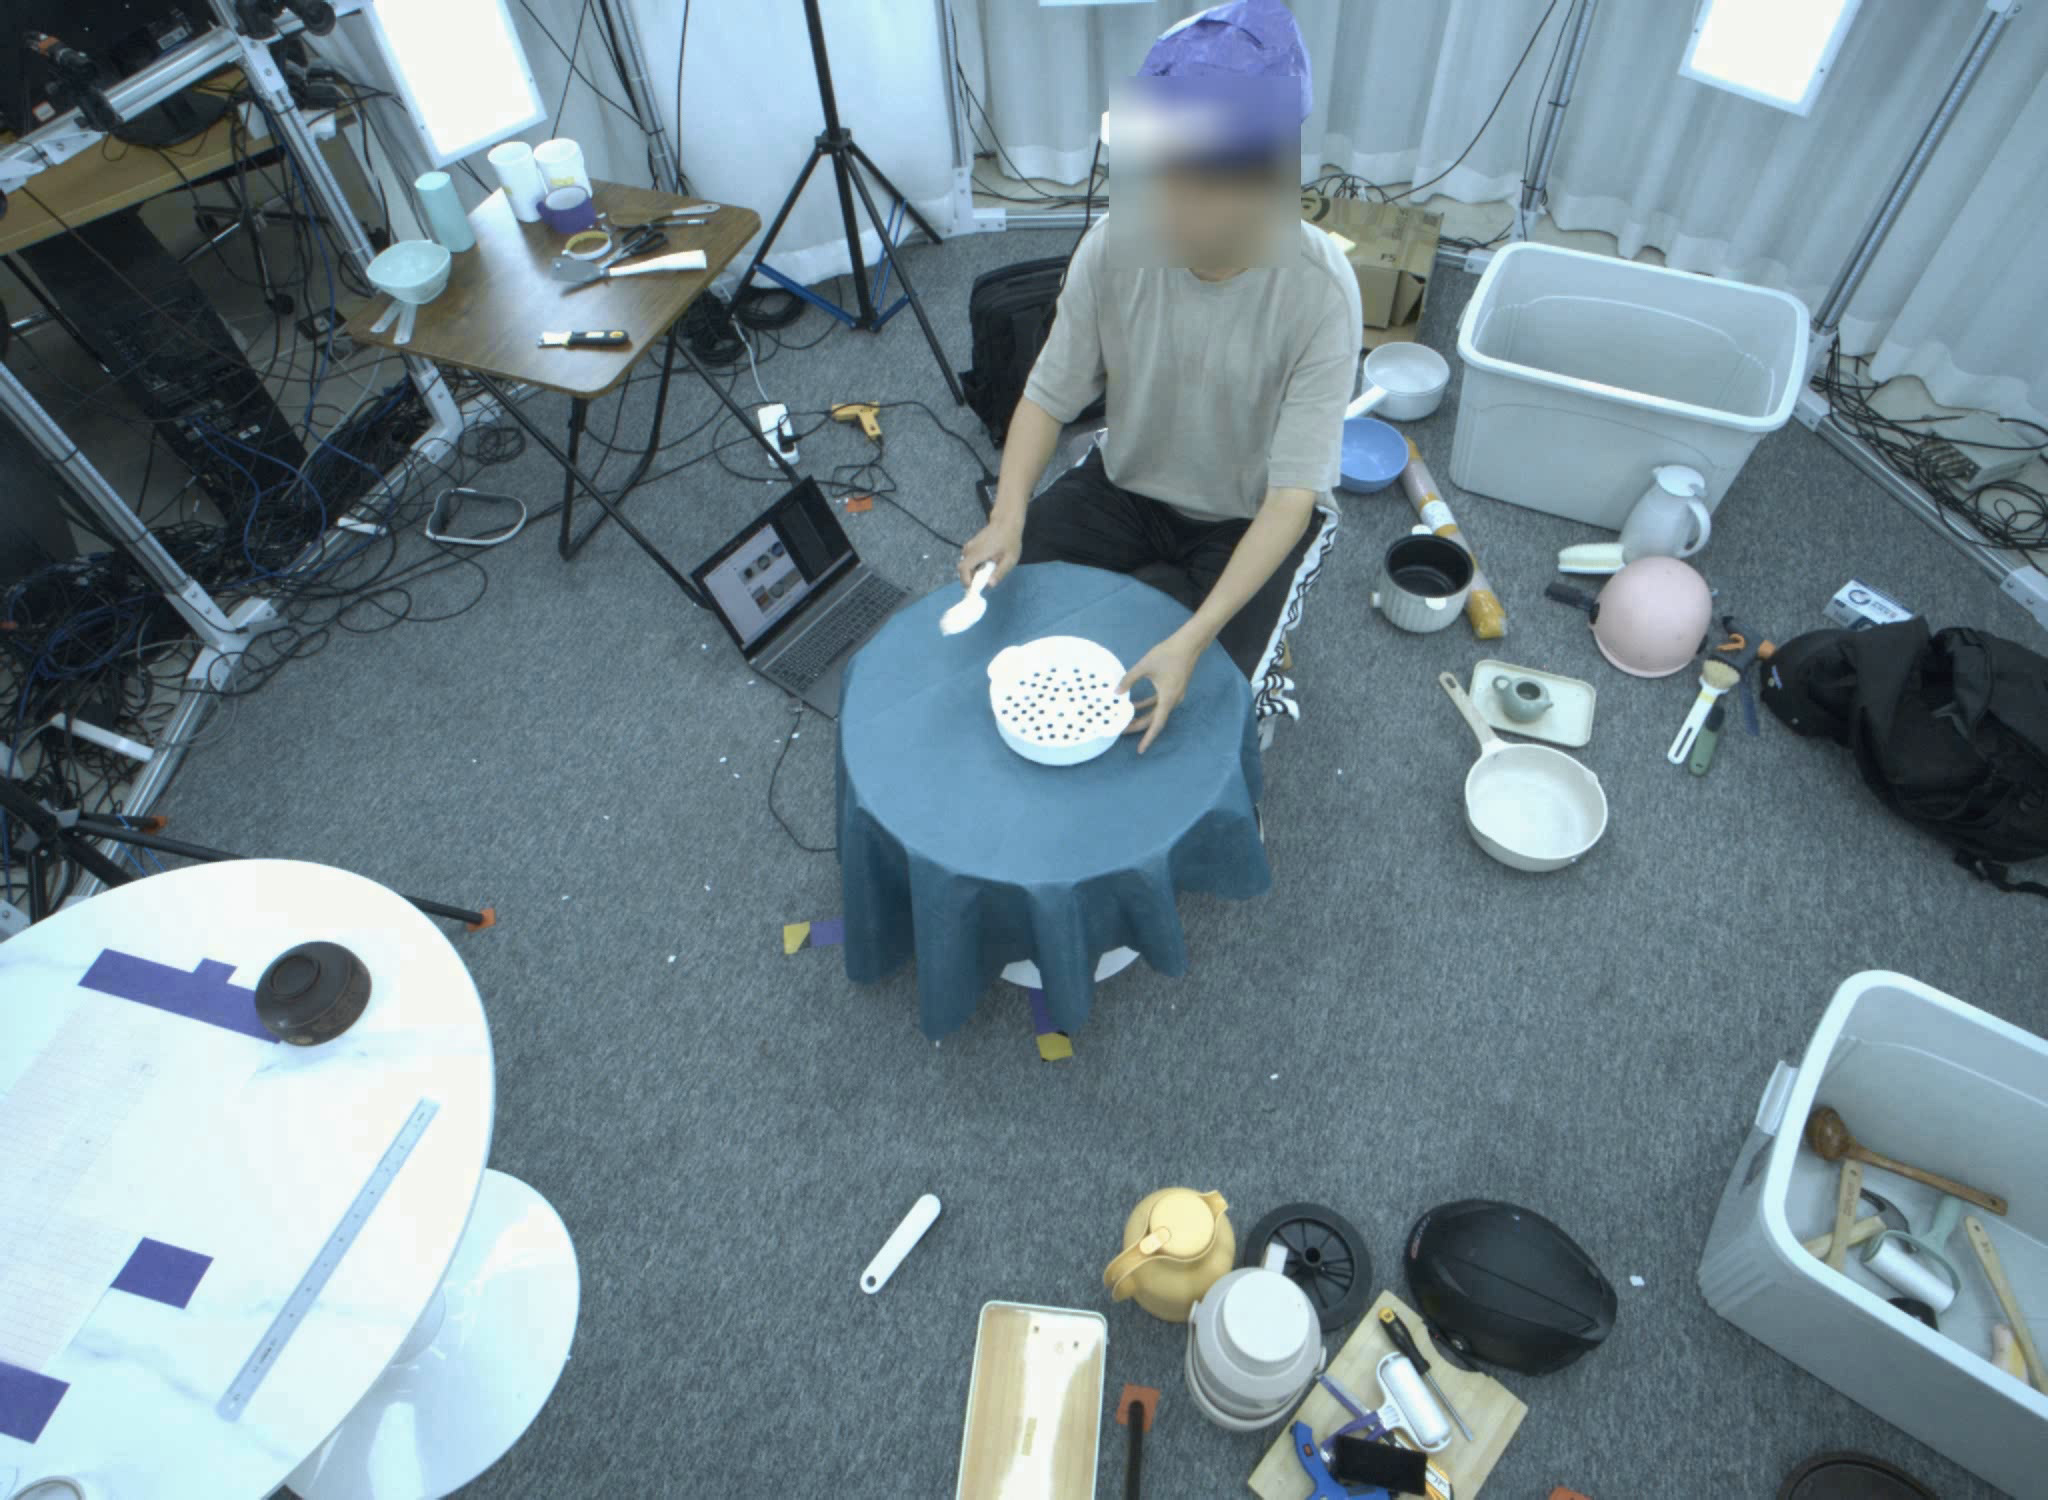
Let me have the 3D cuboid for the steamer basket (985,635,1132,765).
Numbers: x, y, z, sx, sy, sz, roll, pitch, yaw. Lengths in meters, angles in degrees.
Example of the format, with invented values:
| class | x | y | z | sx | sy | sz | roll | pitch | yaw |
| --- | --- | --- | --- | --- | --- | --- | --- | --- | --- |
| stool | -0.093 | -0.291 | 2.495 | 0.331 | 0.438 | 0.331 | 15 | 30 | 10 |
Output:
| class | x | y | z | sx | sy | sz | roll | pitch | yaw |
| --- | --- | --- | --- | --- | --- | --- | --- | --- | --- |
| steamer basket | 0.049 | -0.071 | 1.793 | 0.227 | 0.070 | 0.203 | 30 | 62 | 19 |

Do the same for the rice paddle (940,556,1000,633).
| class | x | y | z | sx | sy | sz | roll | pitch | yaw |
| --- | --- | --- | --- | --- | --- | --- | --- | --- | --- |
| rice paddle | -0.075 | -0.227 | 1.803 | 0.068 | 0.030 | 0.204 | -12 | 31 | 23 |
